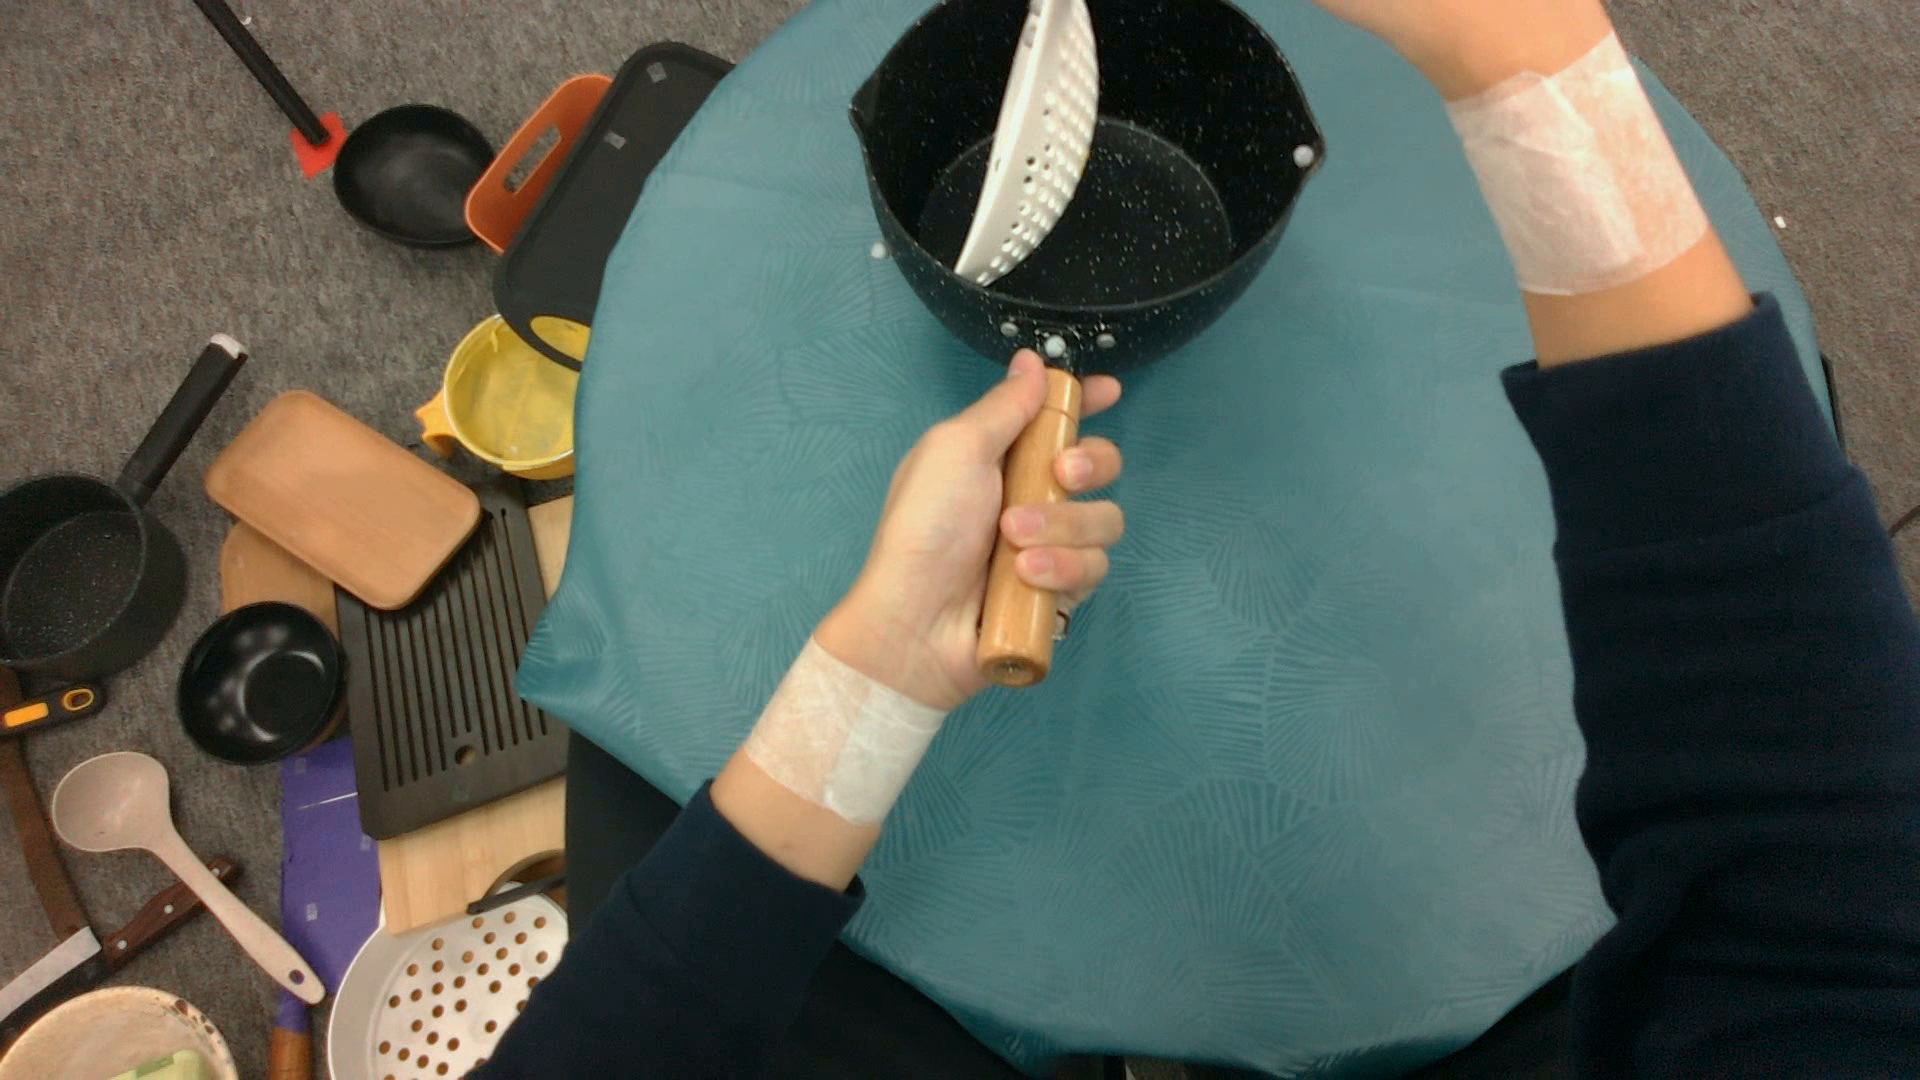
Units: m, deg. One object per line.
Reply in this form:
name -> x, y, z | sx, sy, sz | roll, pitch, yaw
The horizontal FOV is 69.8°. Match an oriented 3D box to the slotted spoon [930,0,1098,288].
slotted spoon -> 0.040, -0.185, 0.464 | 0.050, 0.347, 0.137 | 18, 78, -1

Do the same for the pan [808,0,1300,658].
pan -> 0.032, -0.101, 0.573 | 0.207, 0.108, 0.344 | 5, 66, 2
